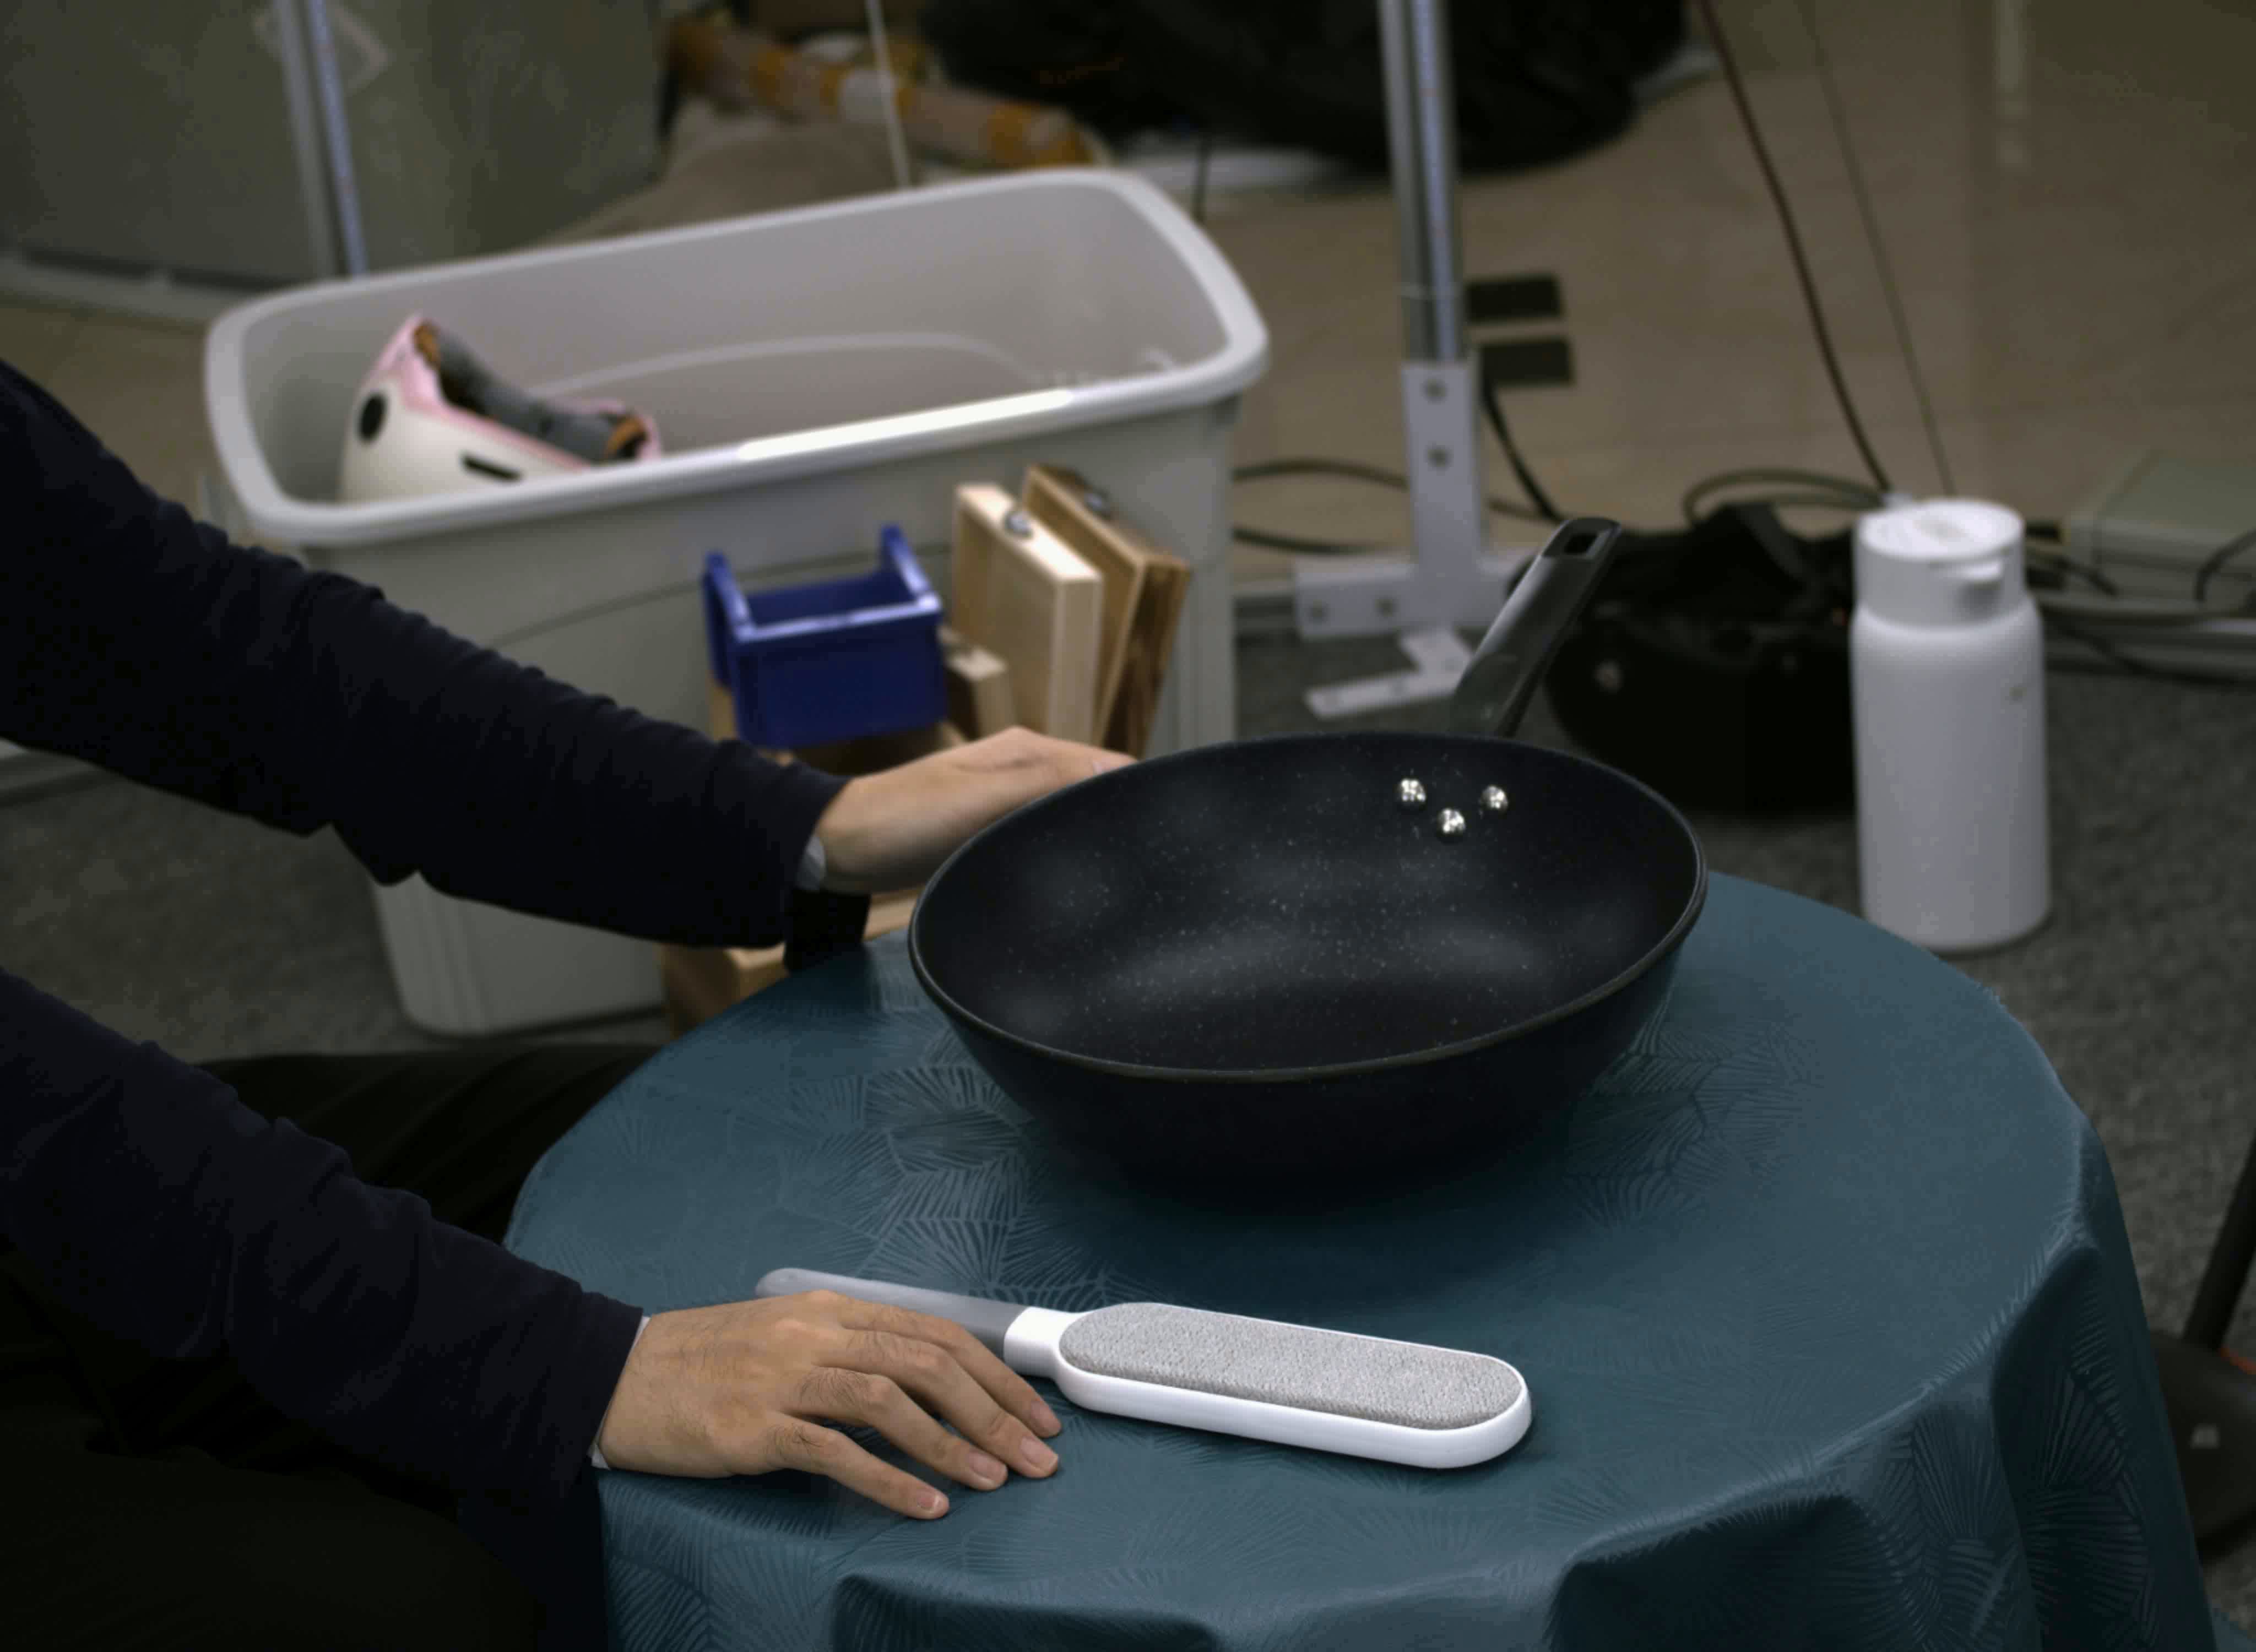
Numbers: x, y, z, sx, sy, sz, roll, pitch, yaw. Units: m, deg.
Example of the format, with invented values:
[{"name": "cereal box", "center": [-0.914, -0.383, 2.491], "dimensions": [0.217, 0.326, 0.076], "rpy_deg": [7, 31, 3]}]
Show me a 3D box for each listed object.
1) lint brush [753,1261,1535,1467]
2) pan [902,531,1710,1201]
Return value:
[{"name": "lint brush", "center": [0.000, 0.186, 2.018], "dimensions": [0.307, 0.021, 0.059], "rpy_deg": [7, 34, 27]}, {"name": "pan", "center": [0.105, 0.021, 2.250], "dimensions": [0.309, 0.113, 0.471], "rpy_deg": [7, 28, 25]}]
